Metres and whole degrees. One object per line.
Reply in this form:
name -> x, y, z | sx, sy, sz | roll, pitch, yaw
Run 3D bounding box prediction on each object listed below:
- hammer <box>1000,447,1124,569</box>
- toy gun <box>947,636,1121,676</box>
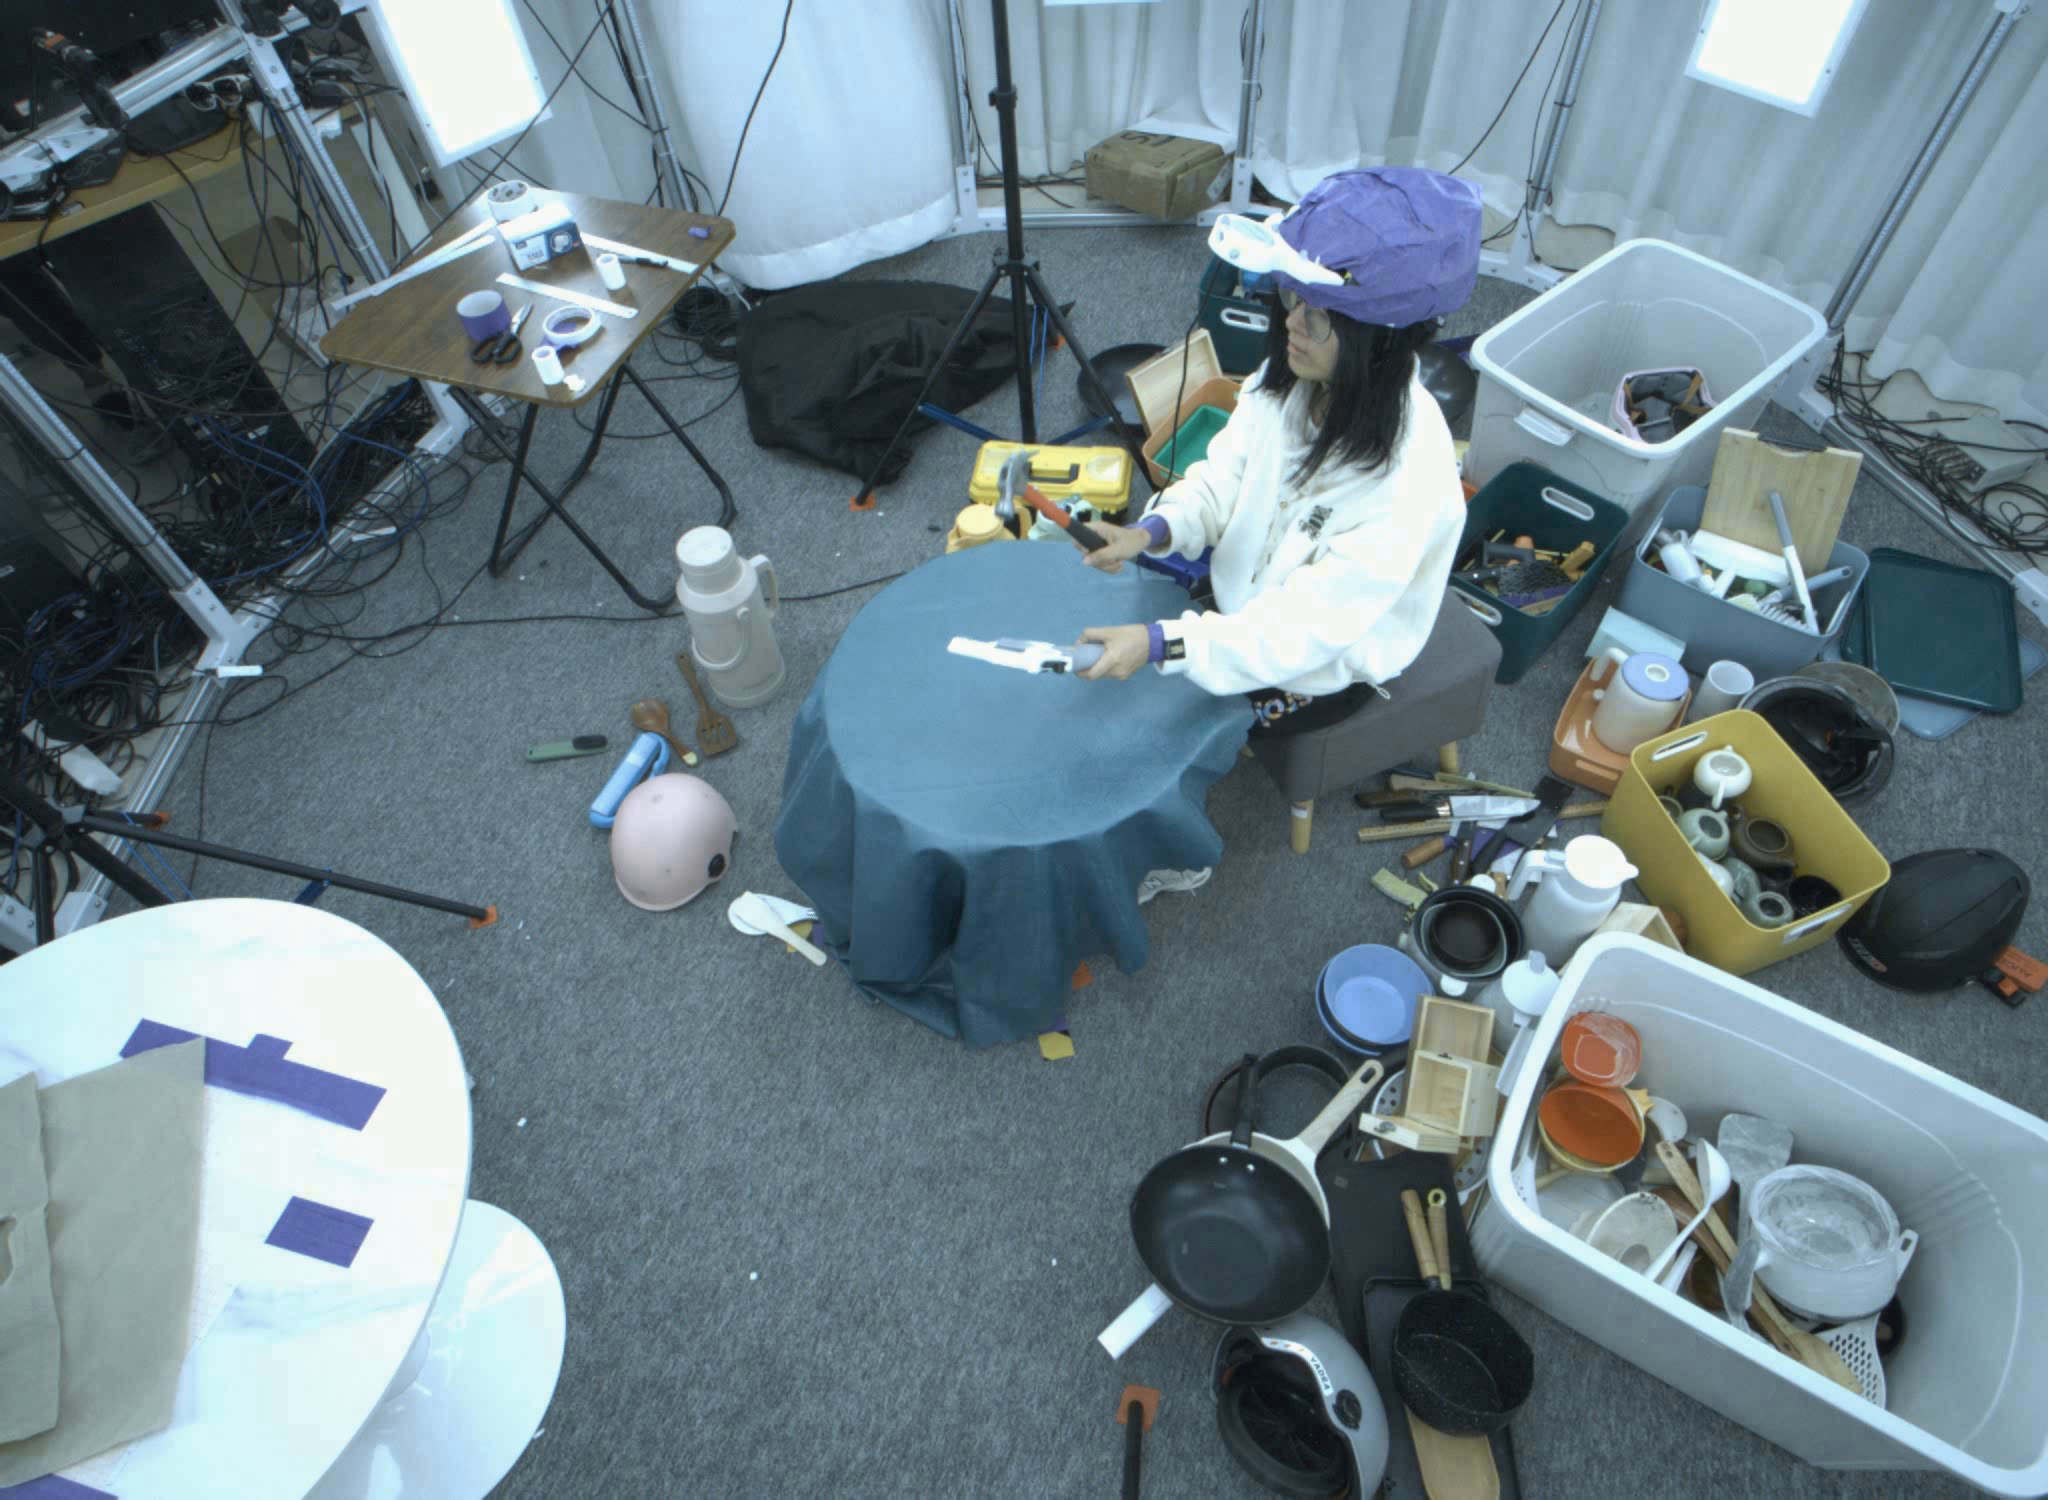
hammer -> 0.057, -0.324, 1.693 | 0.026, 0.284, 0.110 | -9, 66, 34
toy gun -> 0.015, -0.135, 1.682 | 0.206, 0.039, 0.142 | 13, 26, 17
